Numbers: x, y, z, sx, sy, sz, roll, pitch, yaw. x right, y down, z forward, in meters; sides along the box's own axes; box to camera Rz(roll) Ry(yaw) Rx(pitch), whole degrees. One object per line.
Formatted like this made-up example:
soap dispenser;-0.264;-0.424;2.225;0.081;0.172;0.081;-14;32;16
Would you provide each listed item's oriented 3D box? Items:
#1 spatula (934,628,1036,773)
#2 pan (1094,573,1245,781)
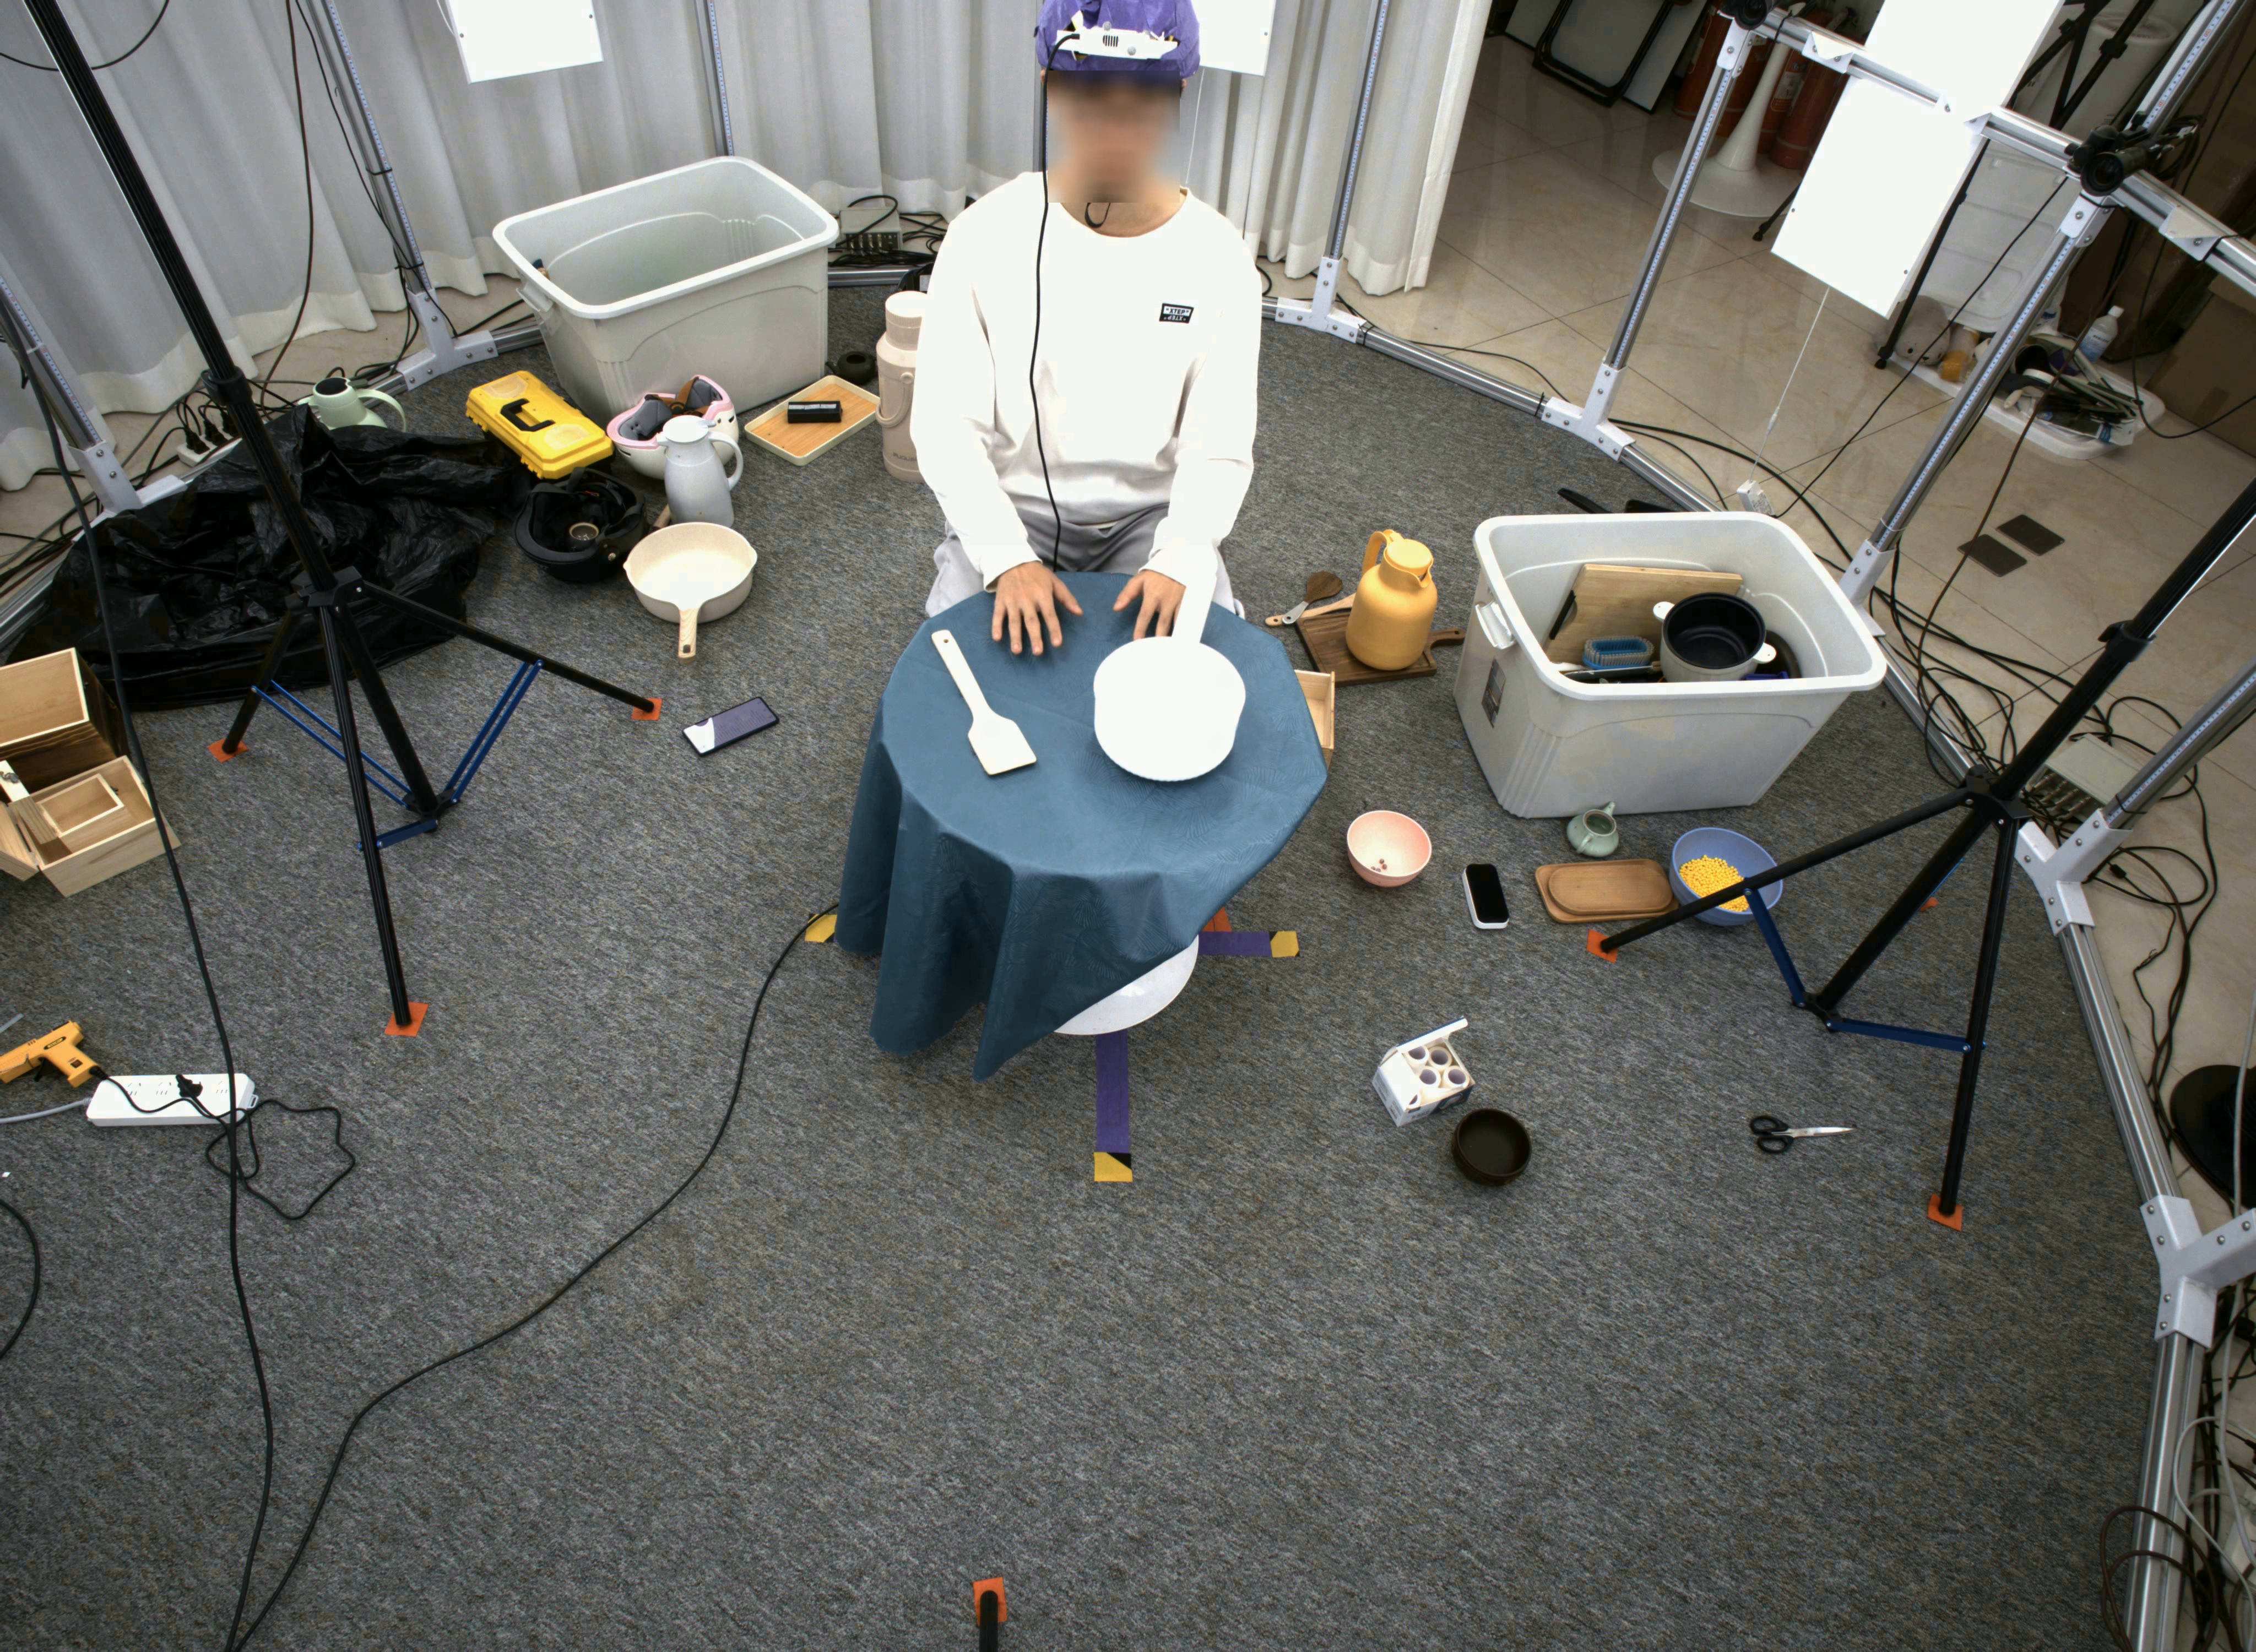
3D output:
spatula;-0.214;-0.183;1.802;0.072;0.010;0.300;-18;52;-17
pan;0.069;-0.209;1.790;0.201;0.099;0.363;11;48;7
